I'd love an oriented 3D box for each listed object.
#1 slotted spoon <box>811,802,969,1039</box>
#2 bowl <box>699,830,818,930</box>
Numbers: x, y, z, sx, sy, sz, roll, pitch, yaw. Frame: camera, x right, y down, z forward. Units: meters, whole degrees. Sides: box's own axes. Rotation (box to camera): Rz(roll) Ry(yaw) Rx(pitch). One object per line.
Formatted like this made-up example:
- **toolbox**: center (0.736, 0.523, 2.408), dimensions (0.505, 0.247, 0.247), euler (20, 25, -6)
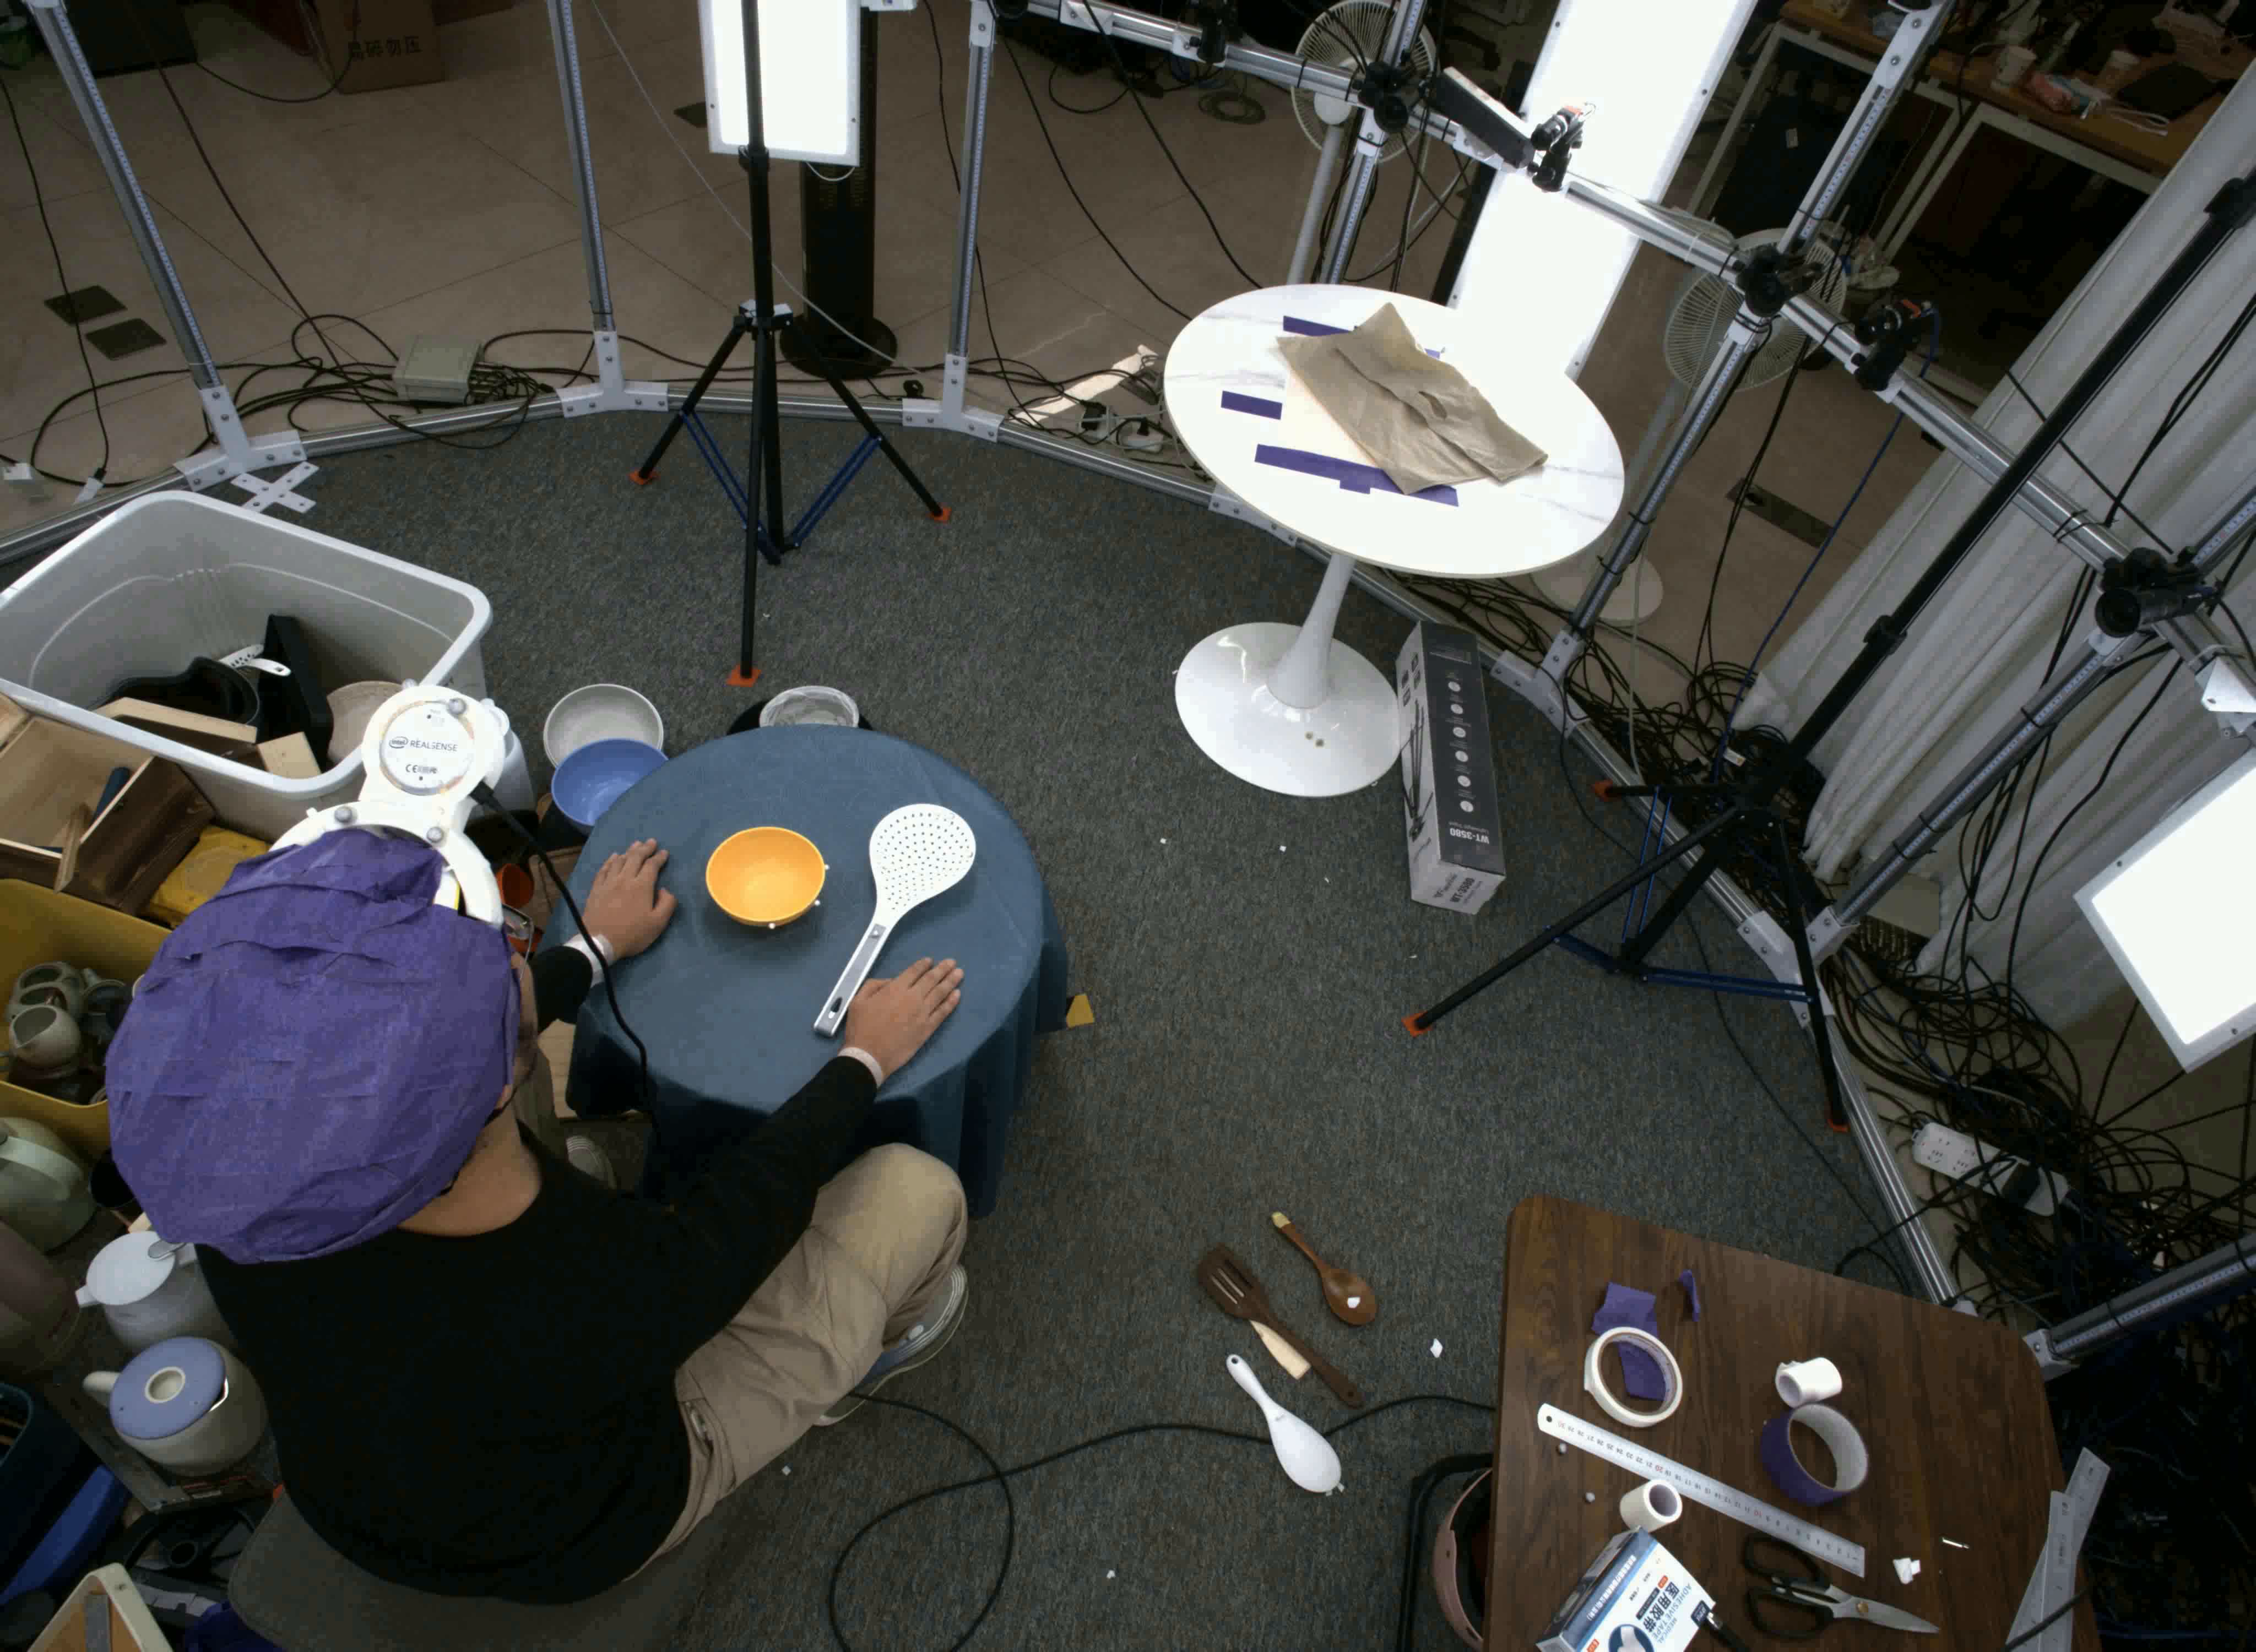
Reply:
- **slotted spoon**: center (-0.310, 0.112, 1.635), dimensions (0.134, 0.046, 0.346), euler (21, 52, 3)
- **bowl**: center (-0.459, 0.077, 1.616), dimensions (0.145, 0.061, 0.142), euler (8, 50, -8)
